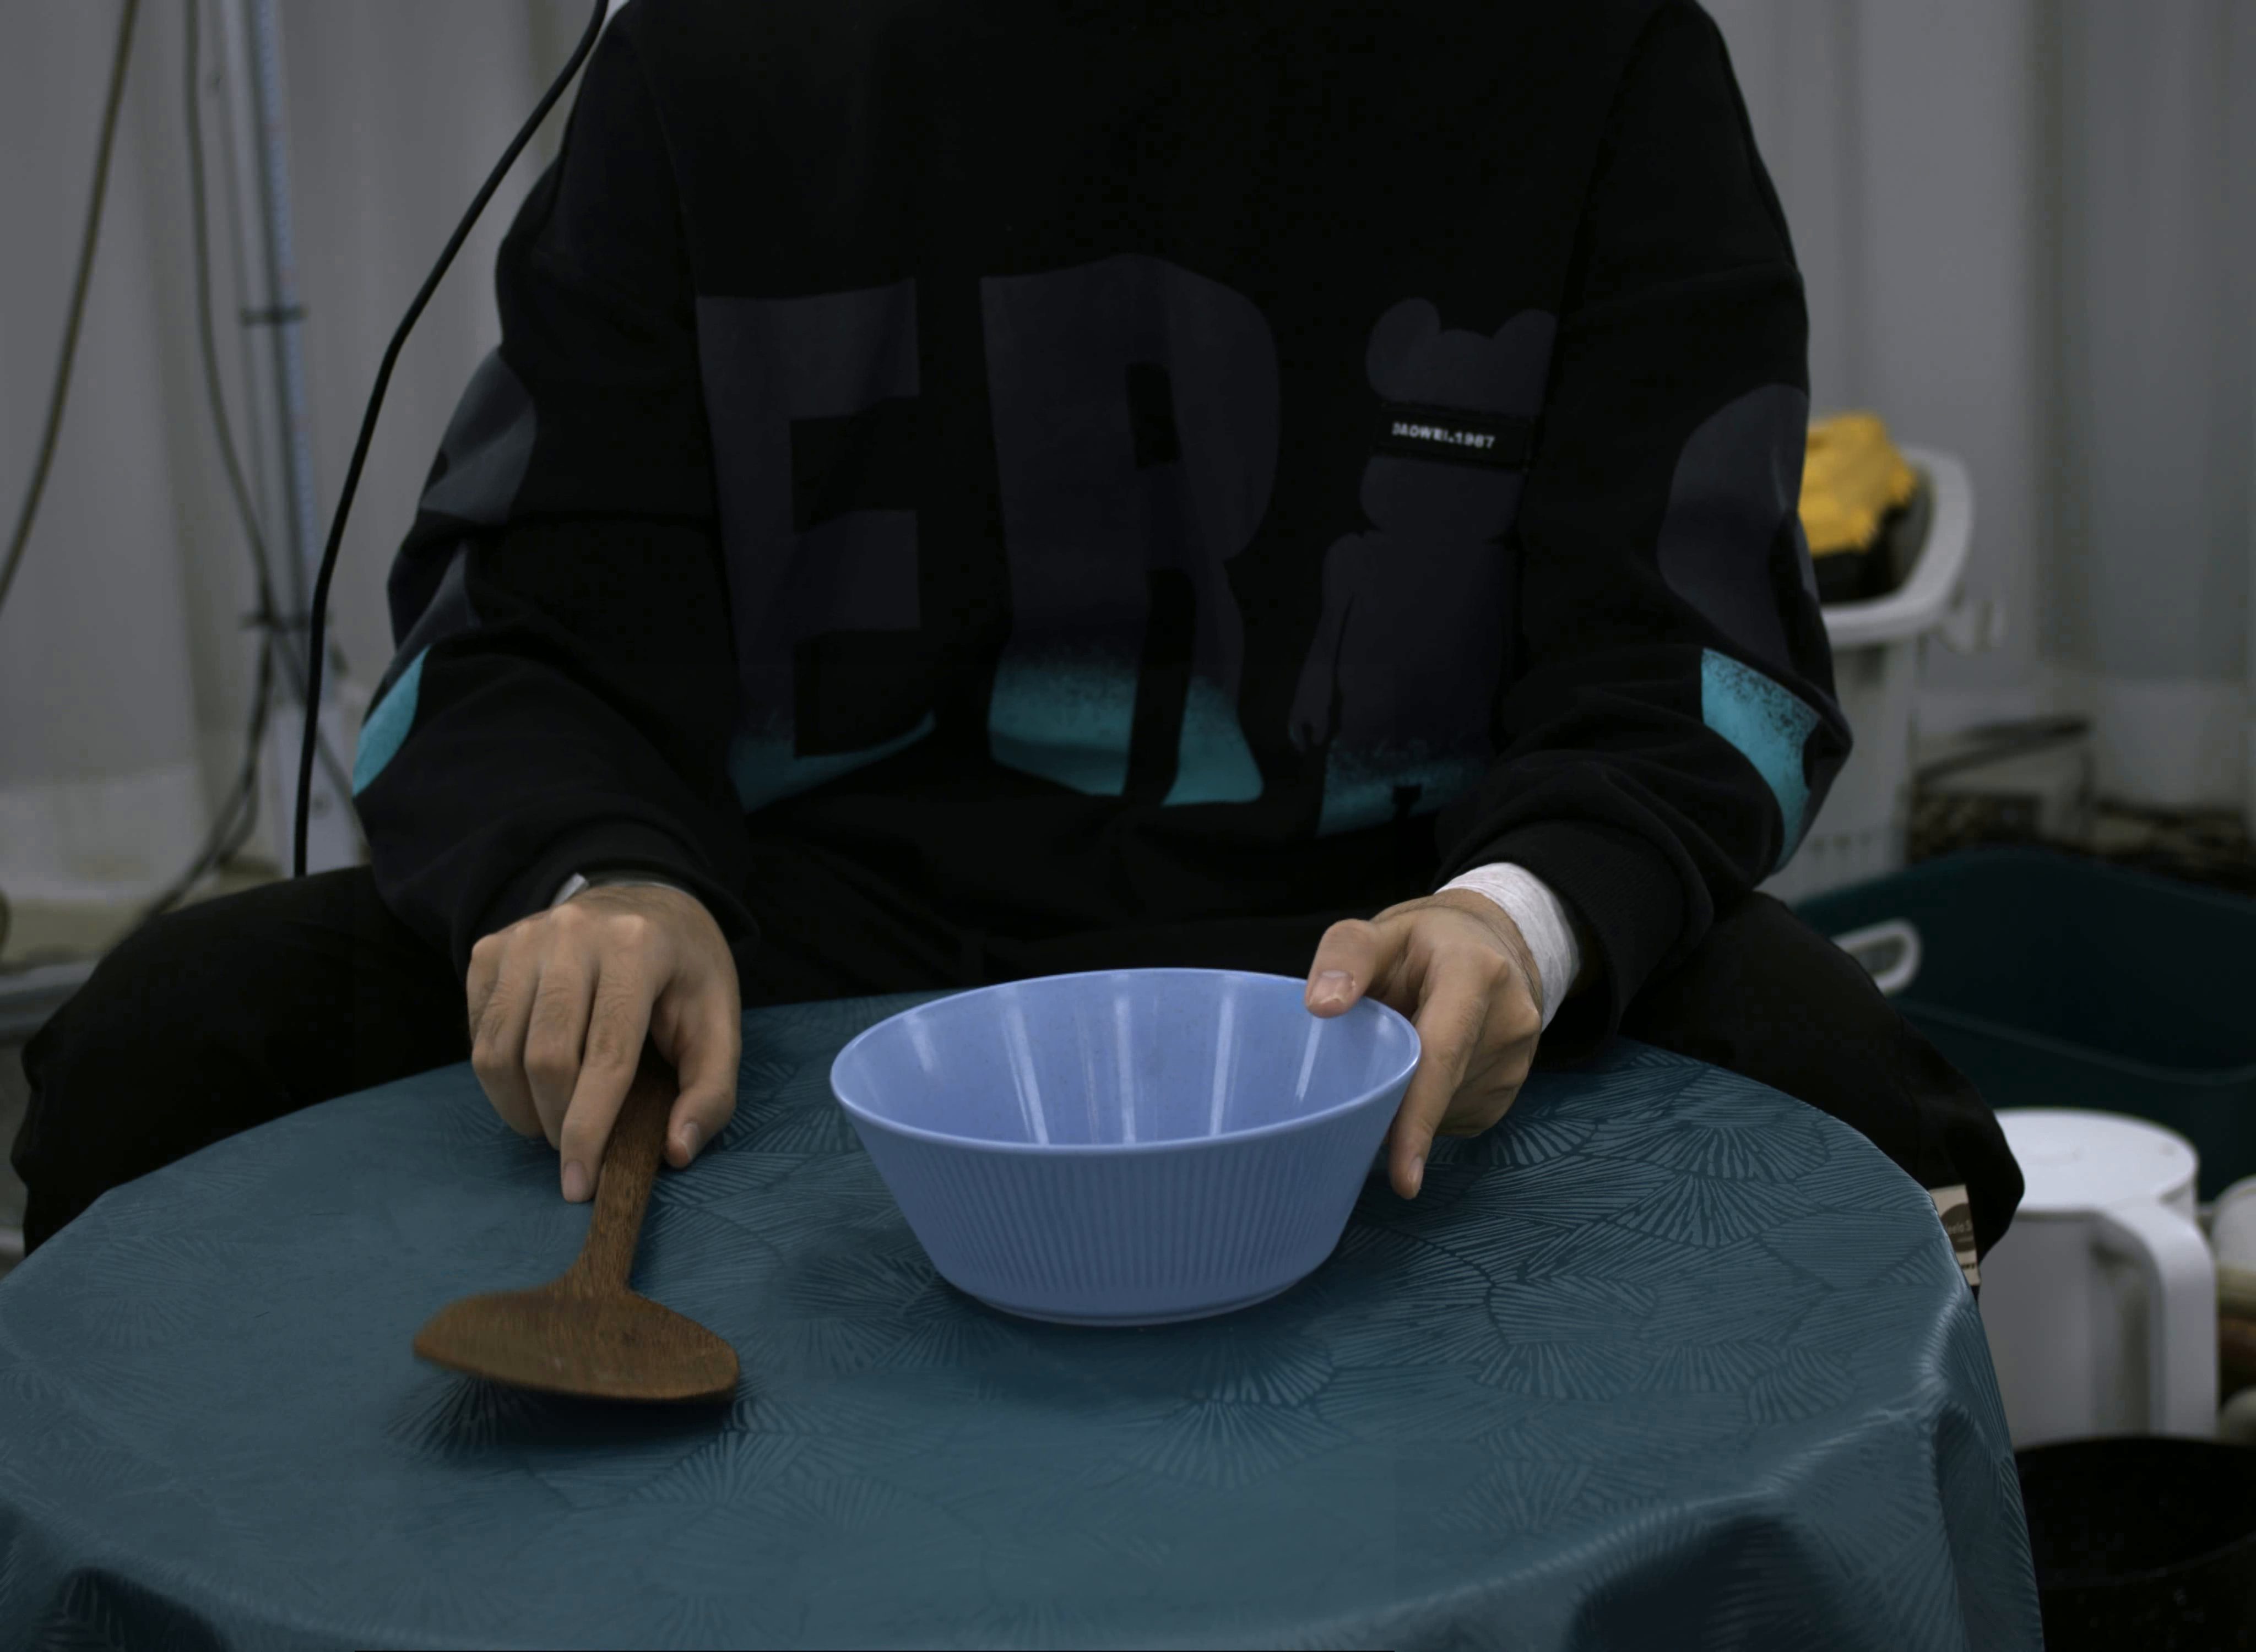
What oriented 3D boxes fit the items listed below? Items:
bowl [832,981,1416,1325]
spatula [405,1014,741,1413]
[{"bbox_3d":[0.000,0.100,1.636,0.175,0.070,0.177,-2,13,0],"label":"bowl"},{"bbox_3d":[-0.158,0.113,1.702,0.096,0.016,0.388,11,14,-3],"label":"spatula"}]
